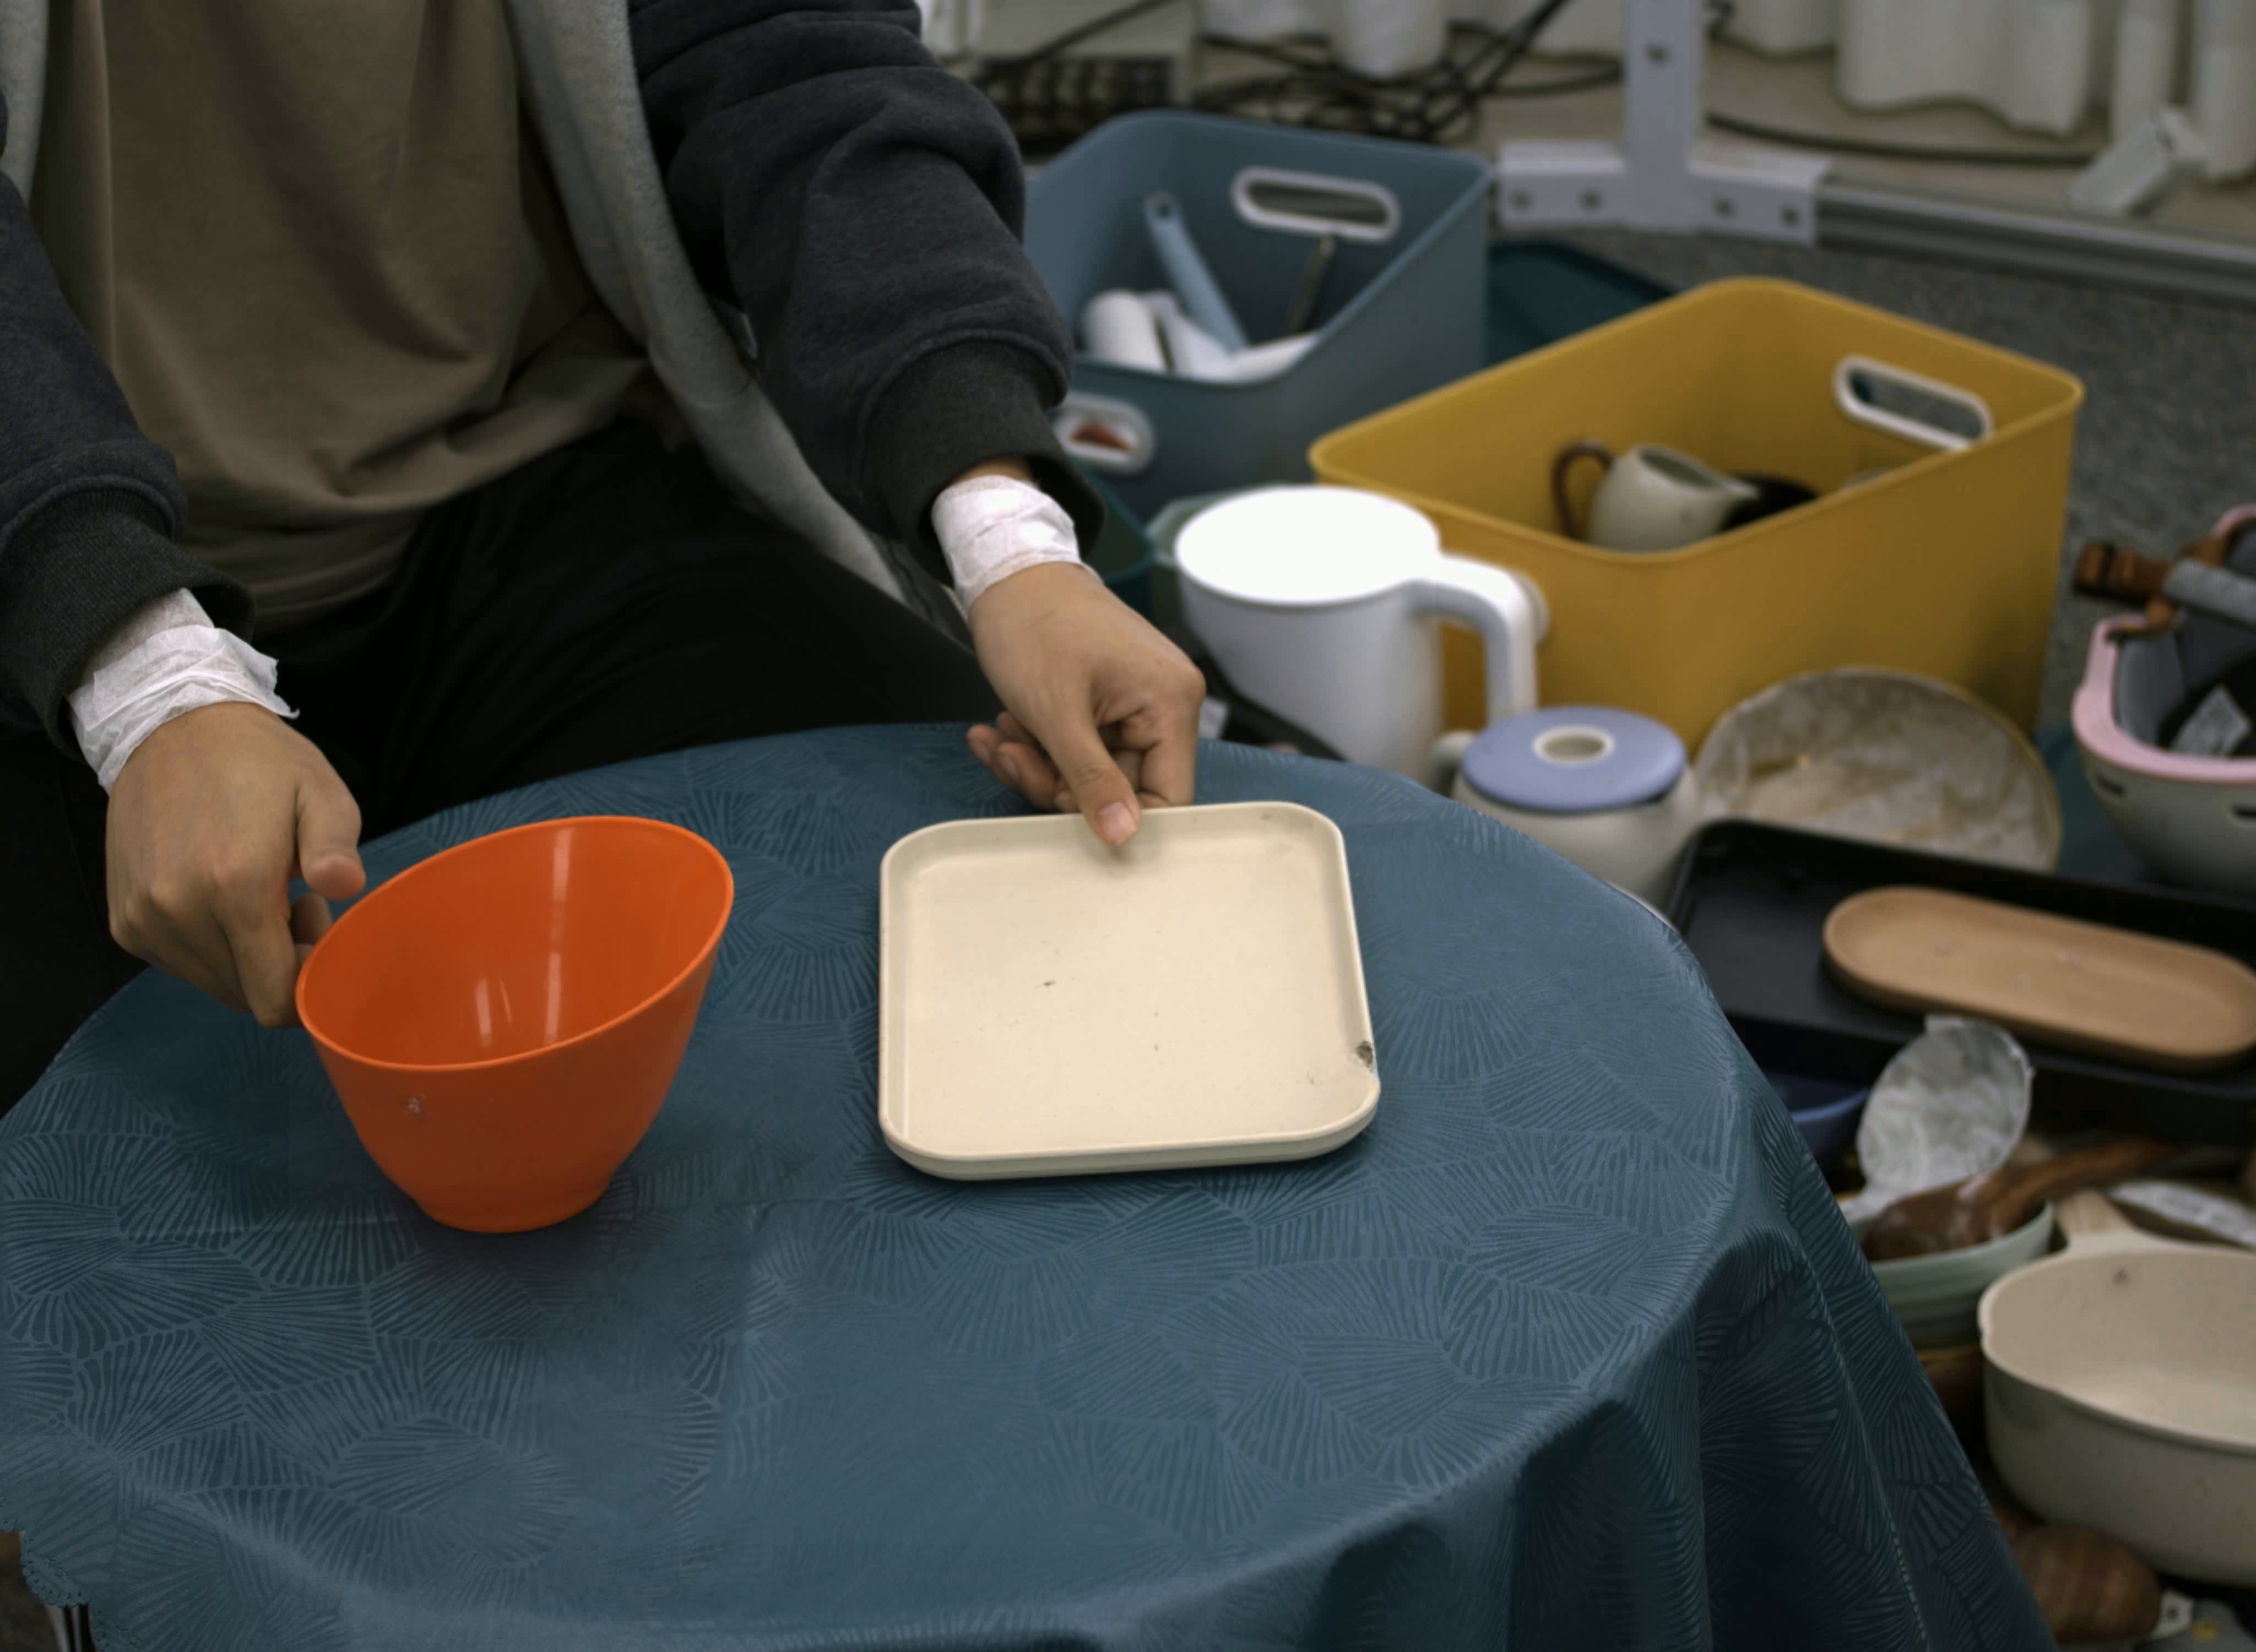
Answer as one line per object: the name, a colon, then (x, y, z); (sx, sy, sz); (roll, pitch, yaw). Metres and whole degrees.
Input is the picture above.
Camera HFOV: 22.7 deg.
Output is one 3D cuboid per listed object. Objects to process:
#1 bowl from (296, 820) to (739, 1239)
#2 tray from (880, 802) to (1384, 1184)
bowl: (-0.199, 0.075, 1.865); (0.147, 0.103, 0.150); (-1, 28, 1)
tray: (-0.002, 0.057, 1.967); (0.170, 0.017, 0.243); (-4, 27, -1)
